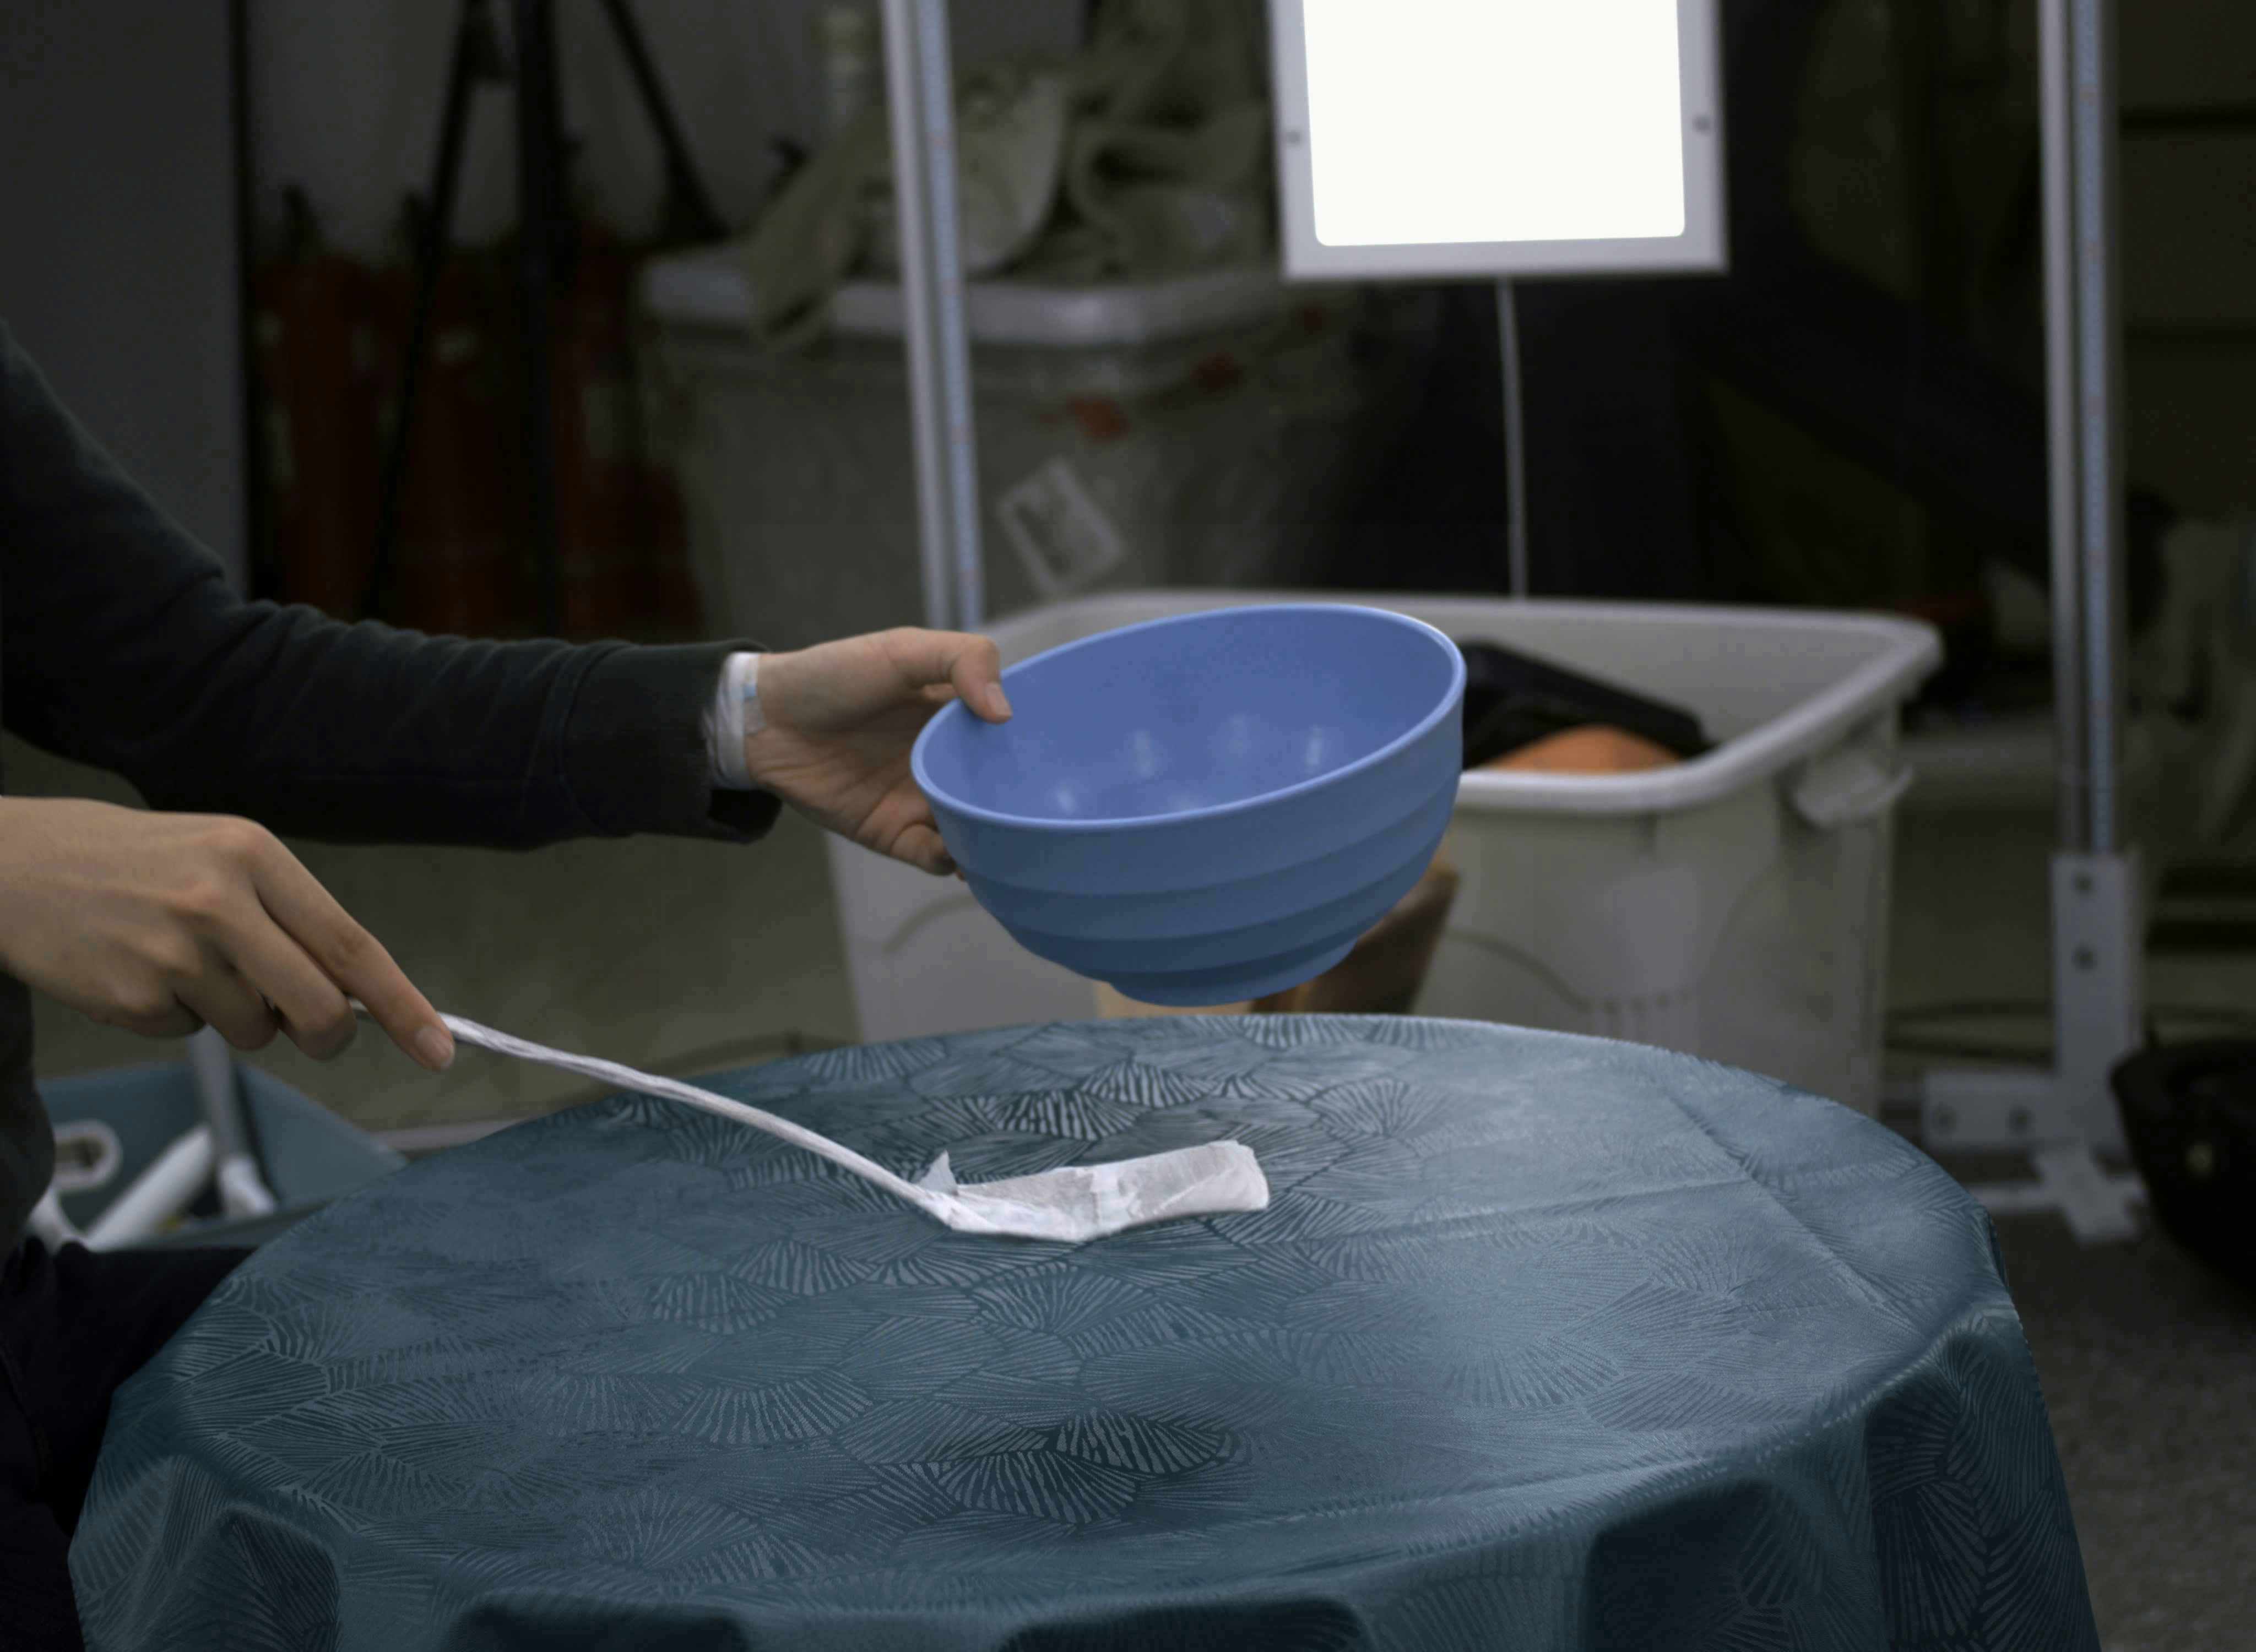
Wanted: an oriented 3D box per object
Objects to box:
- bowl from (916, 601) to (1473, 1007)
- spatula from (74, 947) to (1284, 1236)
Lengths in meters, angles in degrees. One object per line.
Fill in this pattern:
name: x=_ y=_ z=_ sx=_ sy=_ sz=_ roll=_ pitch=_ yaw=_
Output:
bowl: x=0.030 y=0.002 z=1.923 sx=0.196 sy=0.095 sz=0.196 roll=-10 pitch=22 yaw=3
spatula: x=-0.134 y=0.071 z=1.635 sx=0.364 sy=0.045 sz=0.098 roll=16 pitch=9 yaw=0
